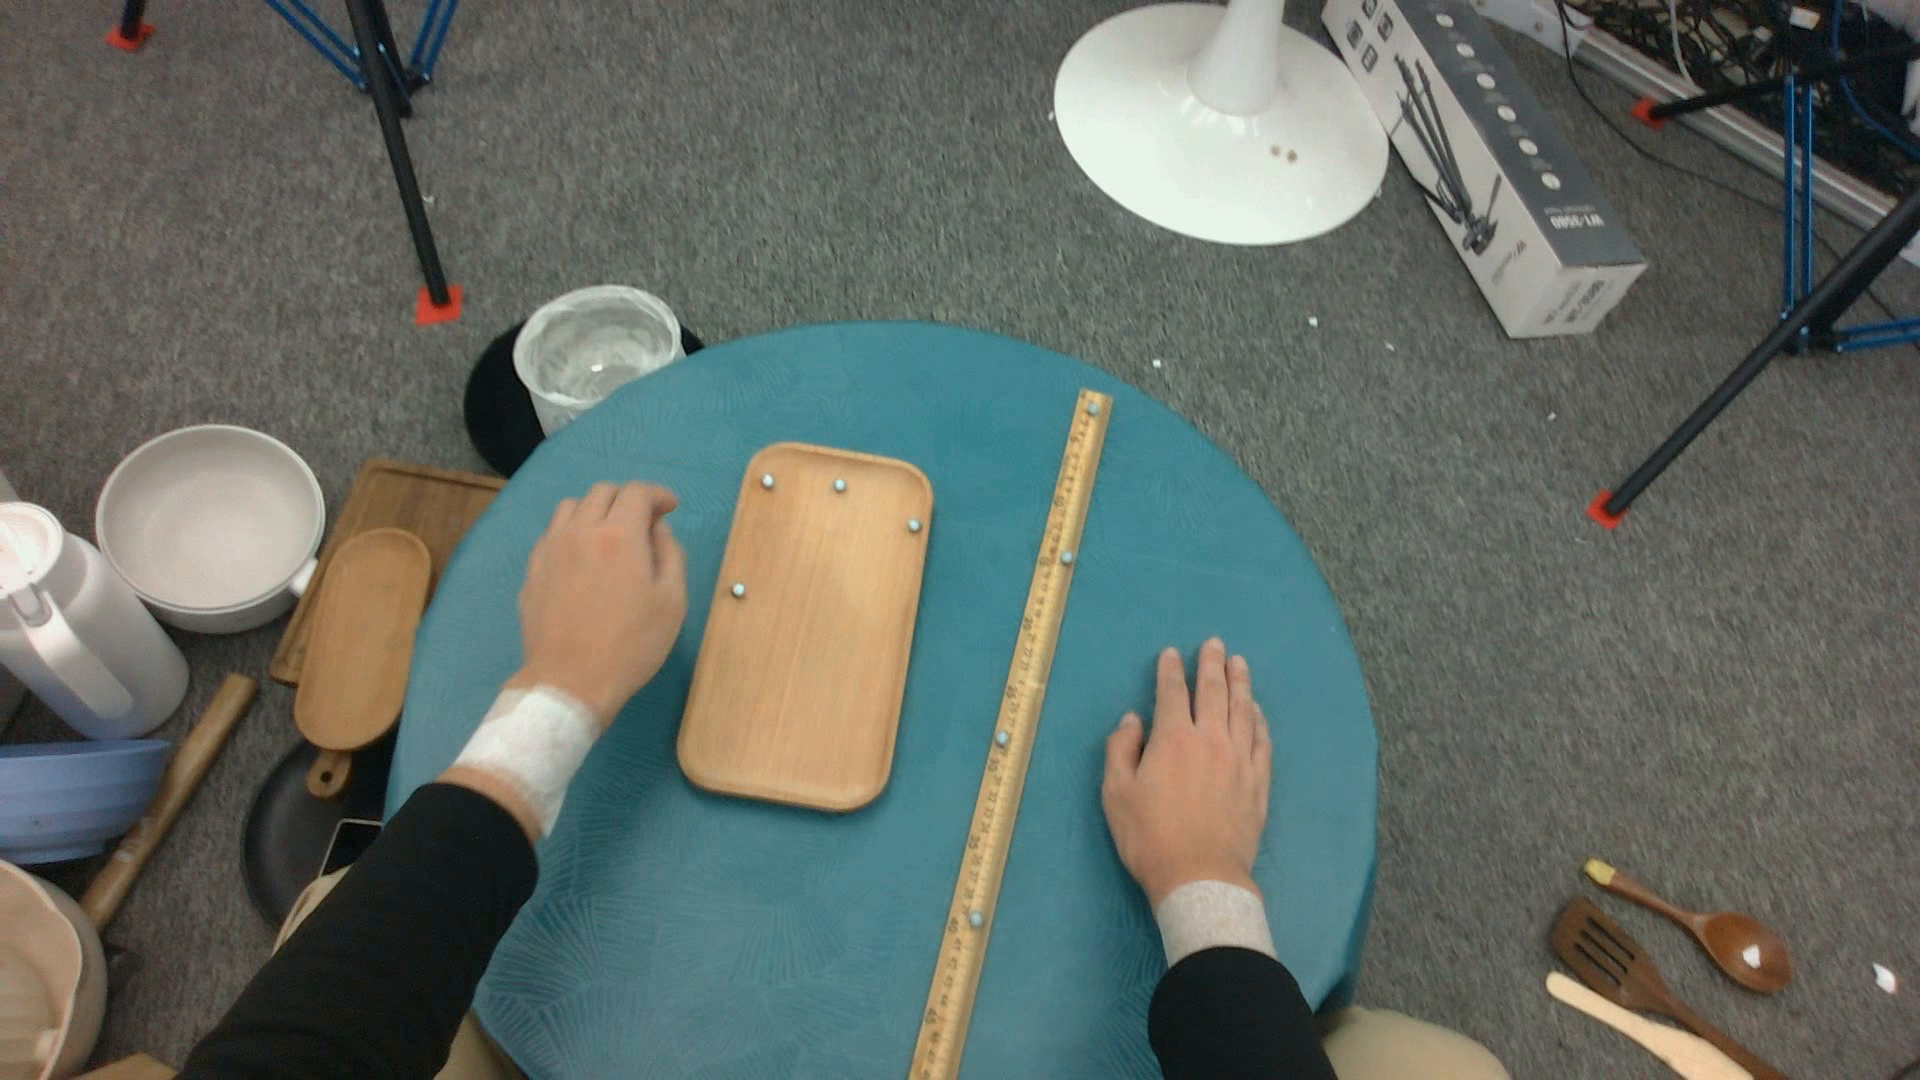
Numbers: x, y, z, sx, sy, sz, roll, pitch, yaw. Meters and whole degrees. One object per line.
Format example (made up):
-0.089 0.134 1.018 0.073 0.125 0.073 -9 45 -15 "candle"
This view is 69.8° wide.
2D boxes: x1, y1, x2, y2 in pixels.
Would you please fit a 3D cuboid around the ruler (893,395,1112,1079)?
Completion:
0.036 0.098 0.861 0.027 0.006 0.503 14 57 5 "ruler"

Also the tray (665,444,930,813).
-0.097 0.049 0.868 0.130 0.023 0.252 10 58 1 "tray"
